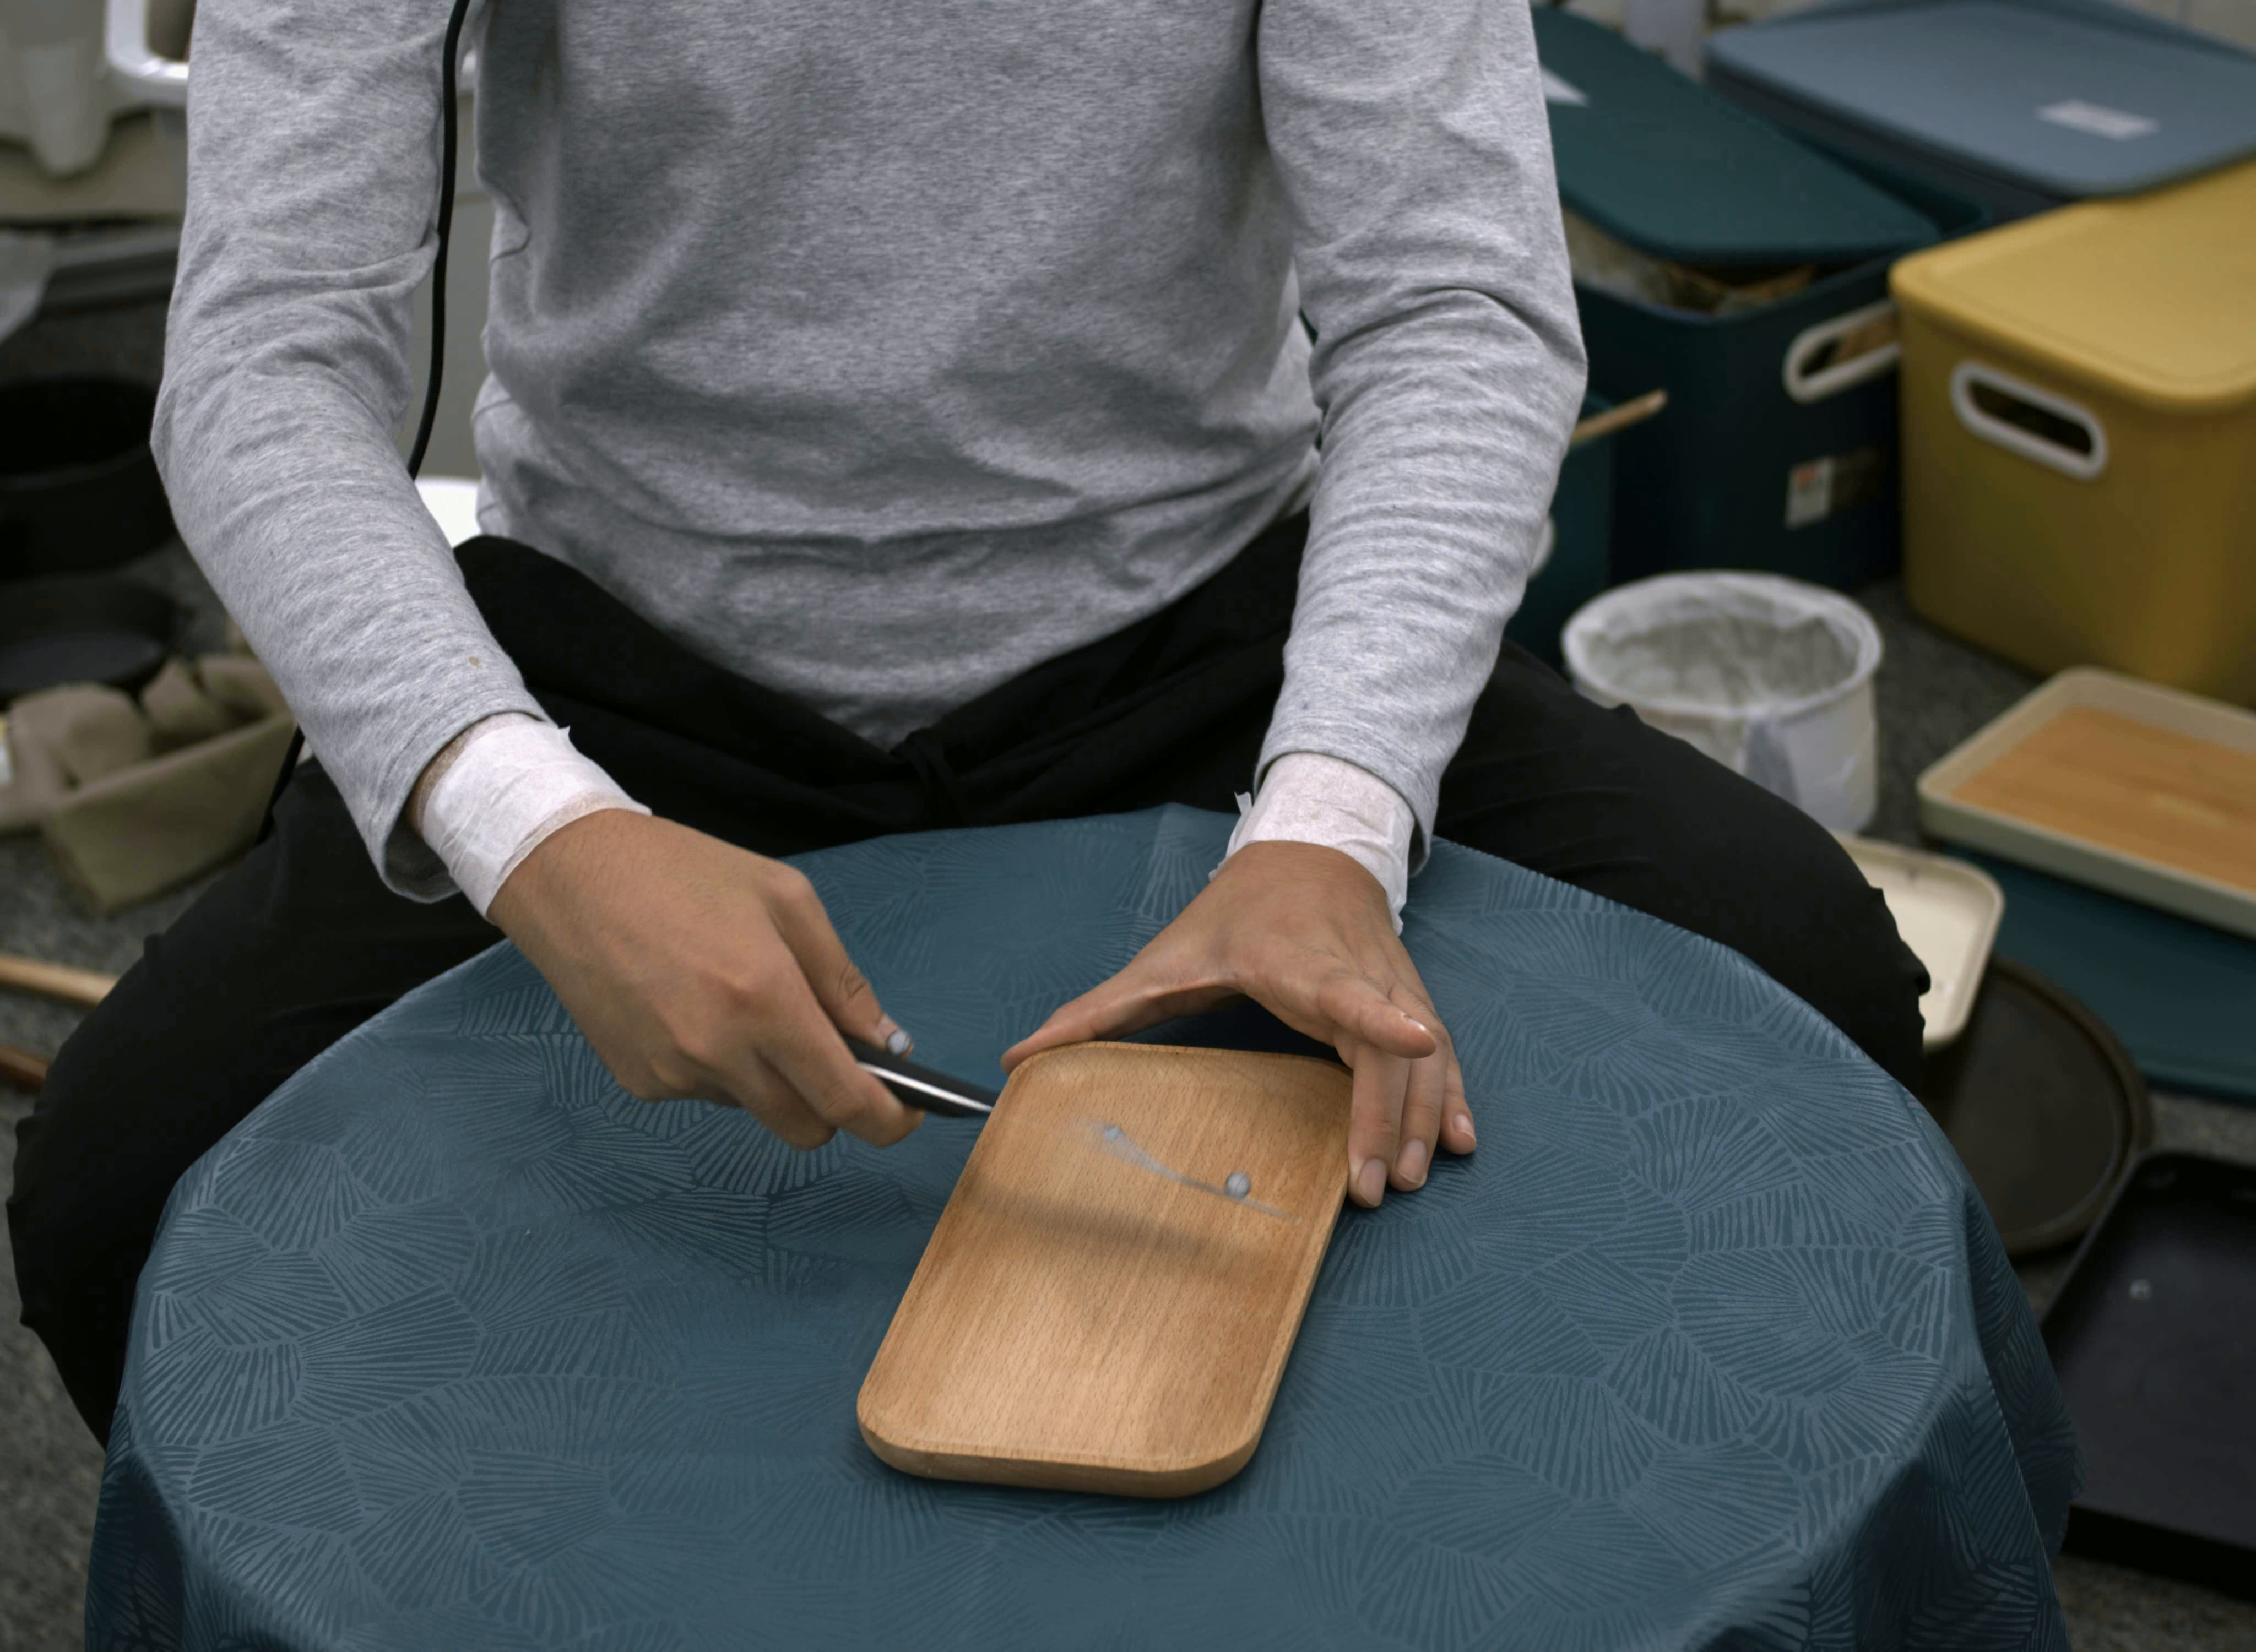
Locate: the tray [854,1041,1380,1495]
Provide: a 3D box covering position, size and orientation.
[{"bbox_3d":[0.000,0.139,1.810,0.130,0.022,0.255,7,28,12],"label":"tray"}]

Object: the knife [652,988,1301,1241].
[{"bbox_3d":[-0.052,0.095,1.827,0.237,0.016,0.024,19,-6,19],"label":"knife"}]
